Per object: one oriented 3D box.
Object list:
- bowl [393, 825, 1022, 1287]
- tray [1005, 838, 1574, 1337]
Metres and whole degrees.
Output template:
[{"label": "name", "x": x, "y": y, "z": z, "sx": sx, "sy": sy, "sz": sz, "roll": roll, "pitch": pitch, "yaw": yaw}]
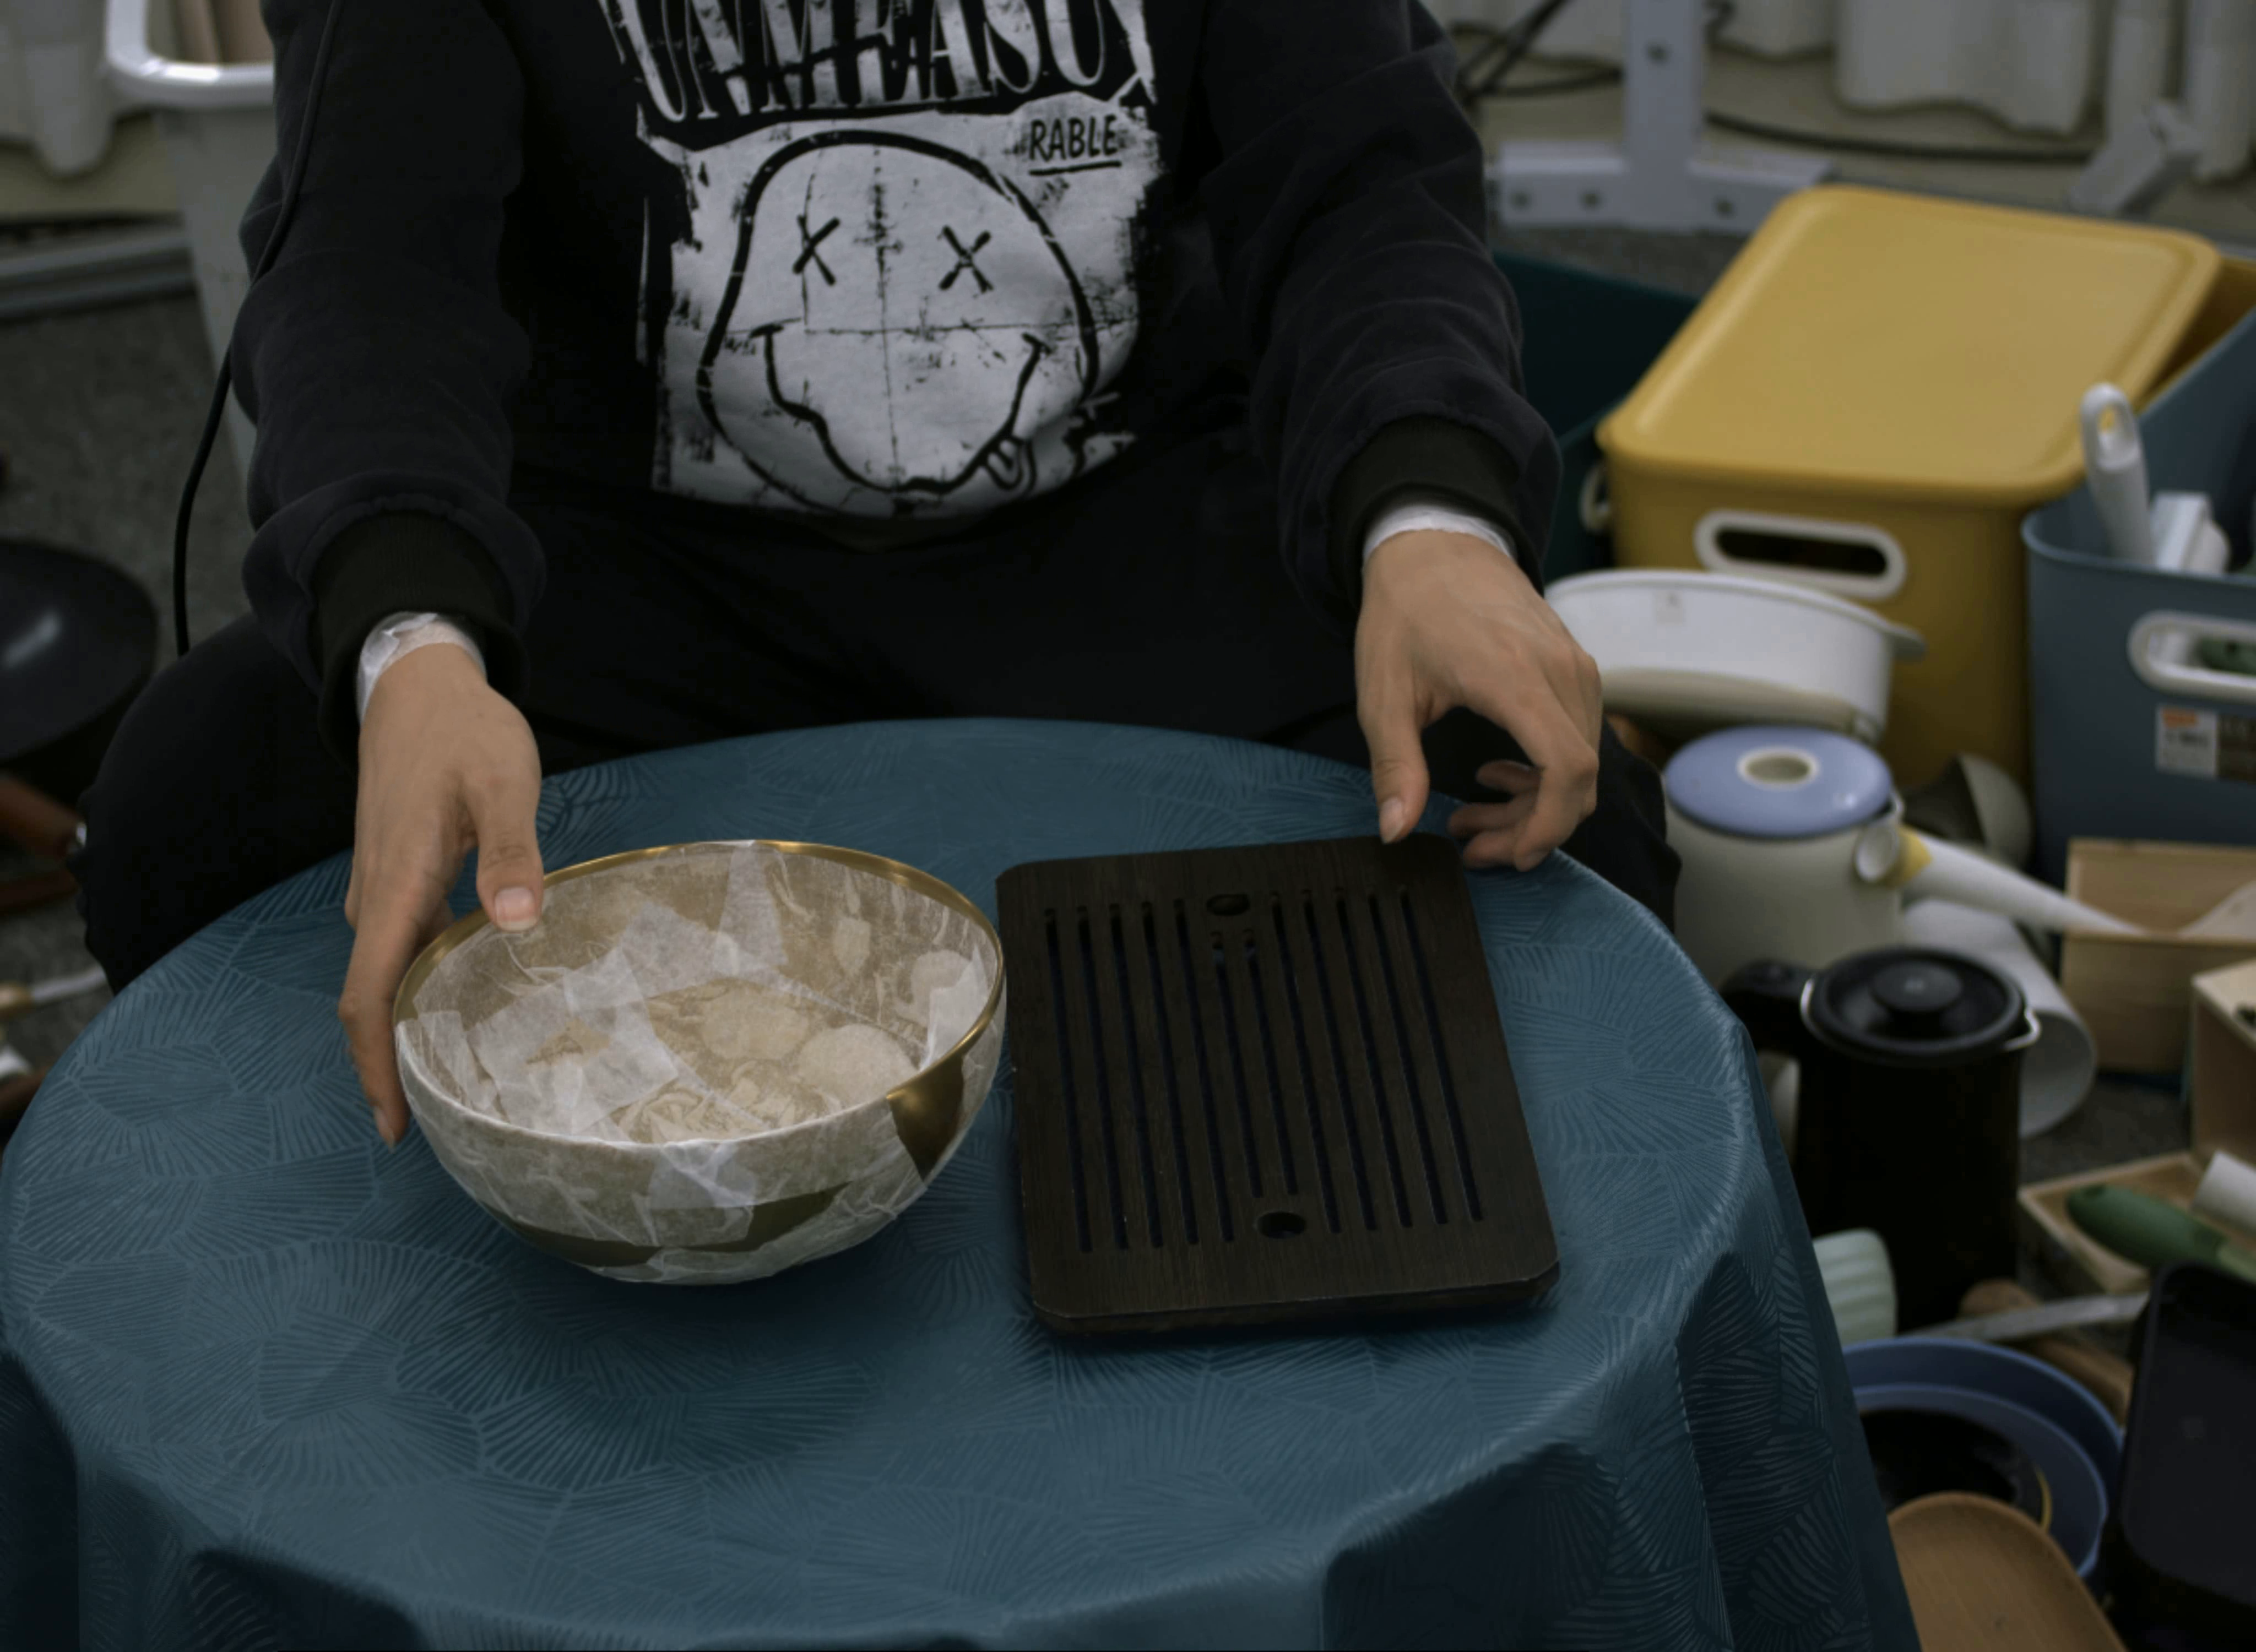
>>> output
[{"label": "bowl", "x": -0.133, "y": 0.088, "z": 1.839, "sx": 0.213, "sy": 0.093, "sz": 0.218, "roll": -3, "pitch": 27, "yaw": 2}, {"label": "tray", "x": 0.048, "y": 0.086, "z": 1.906, "sx": 0.169, "sy": 0.018, "sz": 0.310, "roll": -4, "pitch": 27, "yaw": -2}]
